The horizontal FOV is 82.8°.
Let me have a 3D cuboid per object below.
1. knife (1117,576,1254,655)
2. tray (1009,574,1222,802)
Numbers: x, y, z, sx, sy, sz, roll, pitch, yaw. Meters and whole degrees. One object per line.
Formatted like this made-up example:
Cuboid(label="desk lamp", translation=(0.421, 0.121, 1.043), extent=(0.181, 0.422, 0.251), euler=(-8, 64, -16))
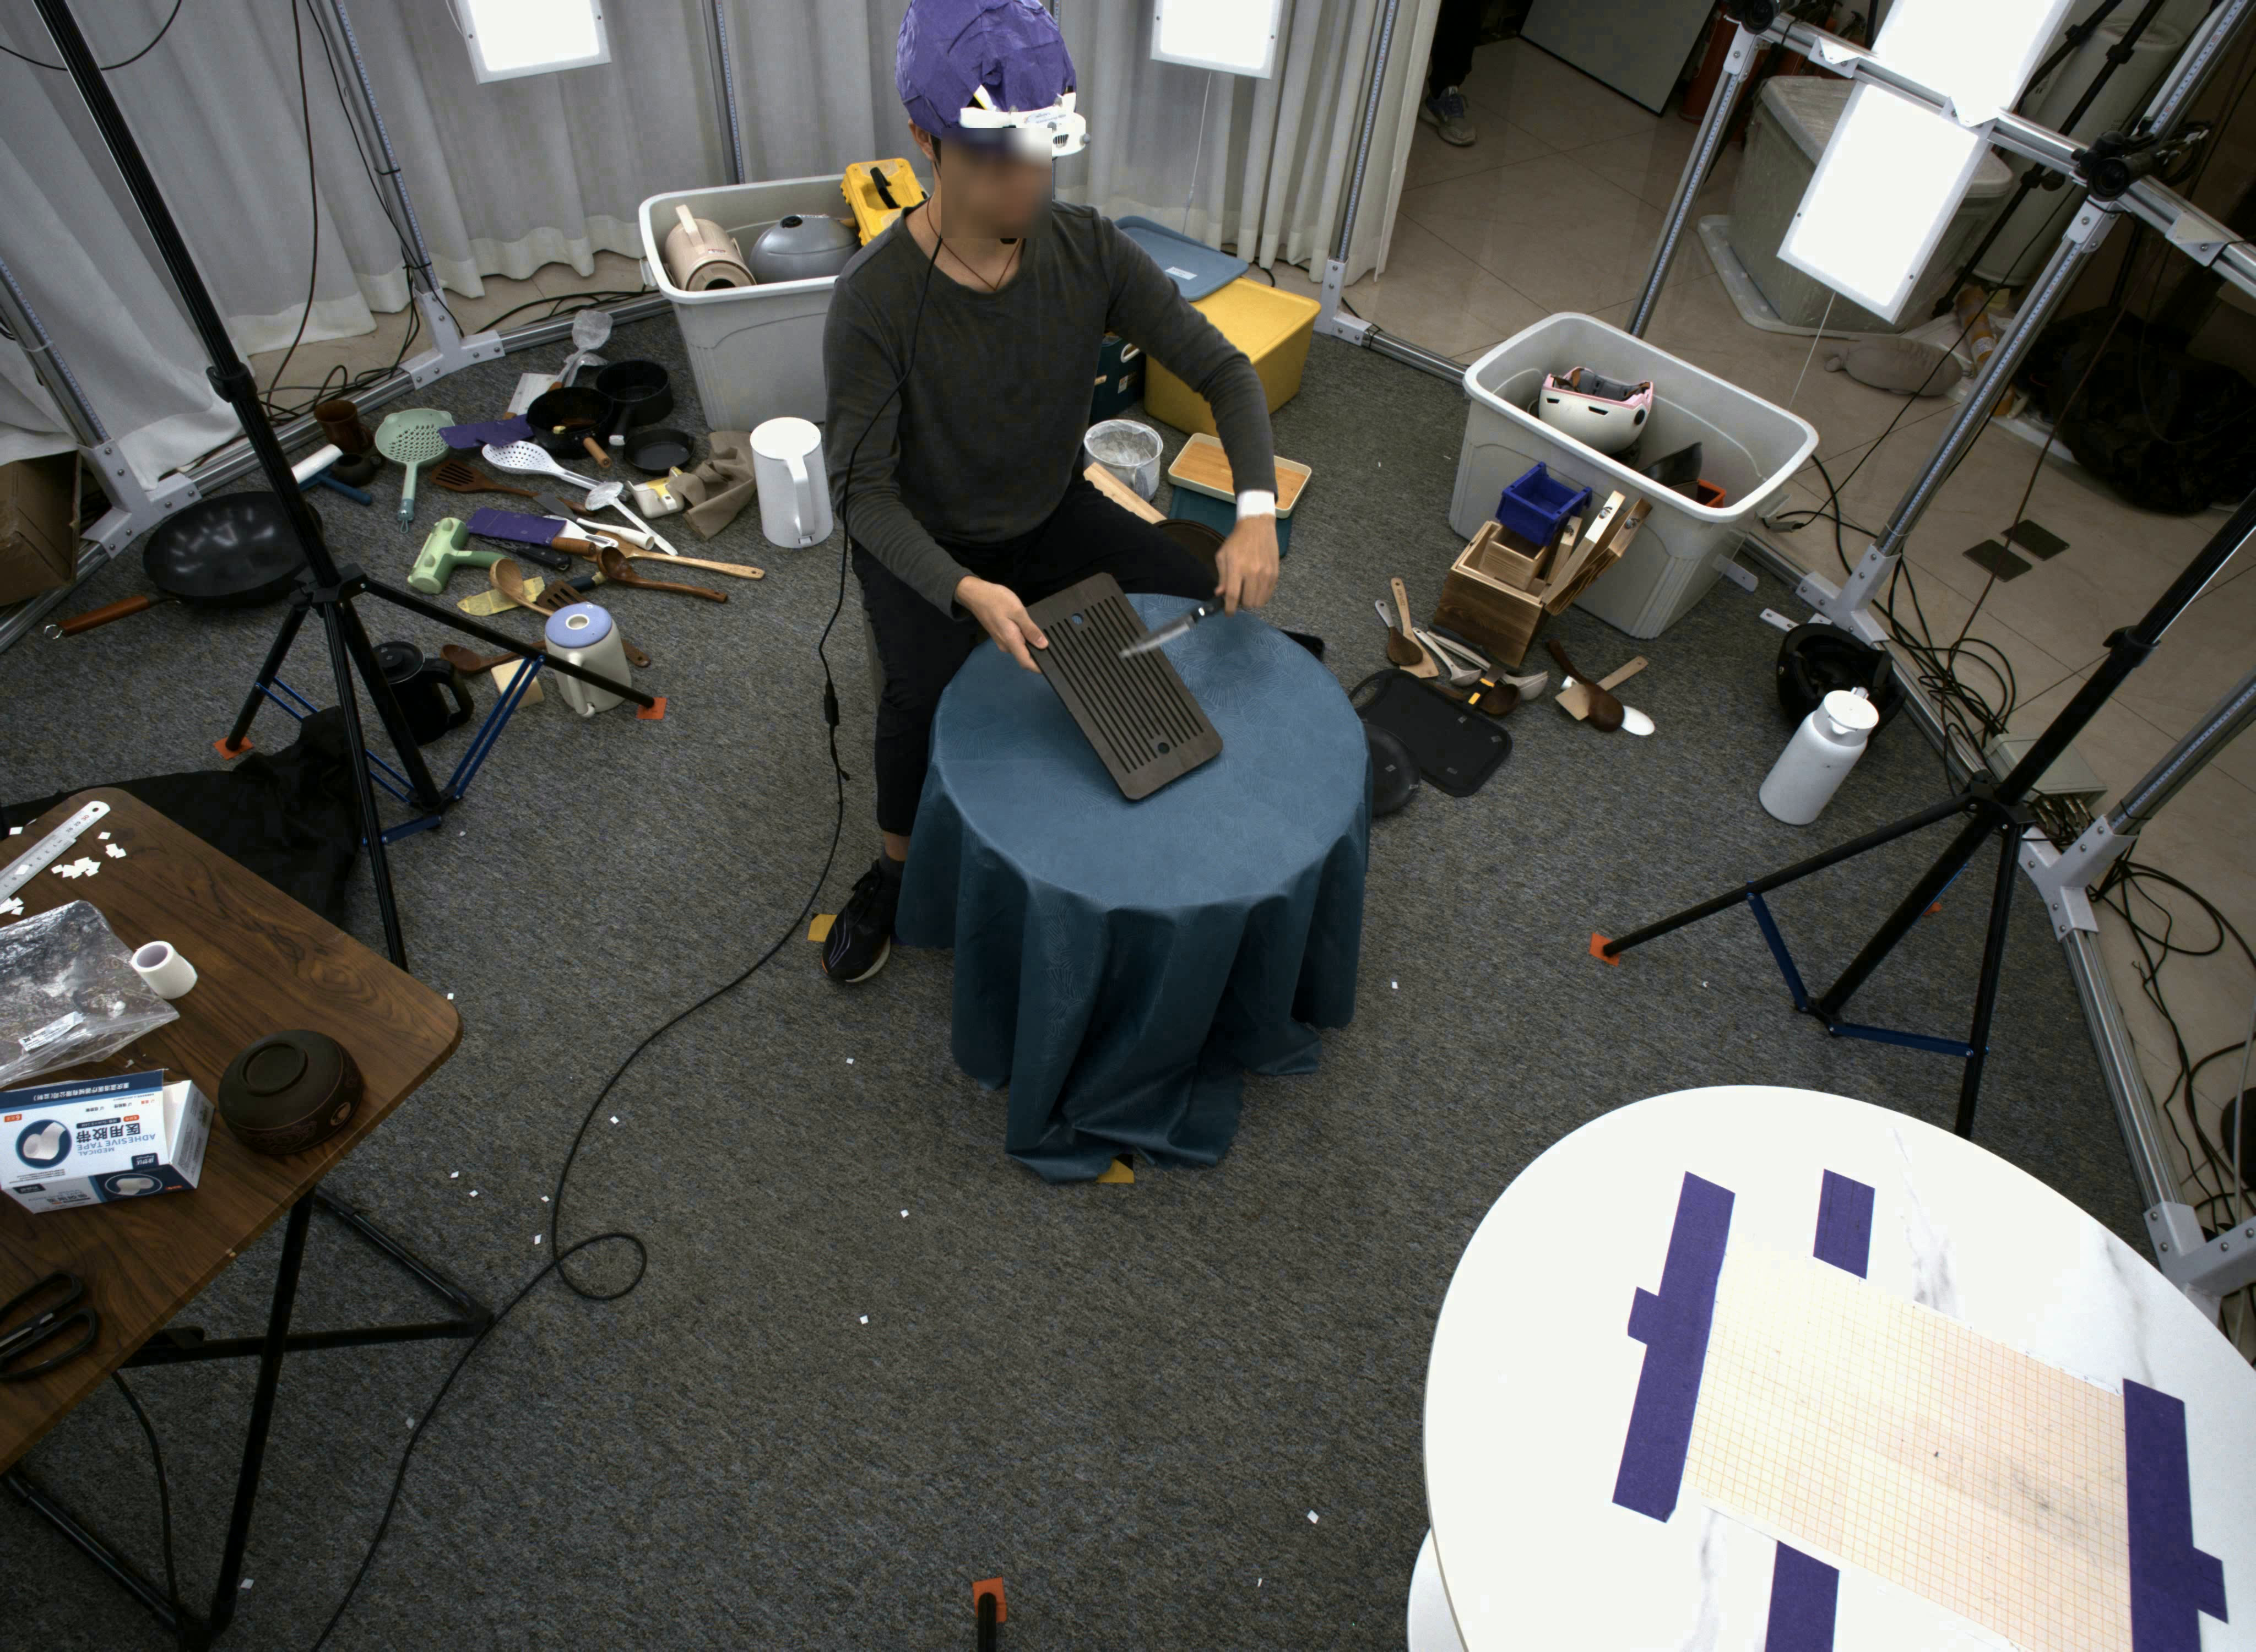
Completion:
Cuboid(label="knife", translation=(0.080, -0.296, 1.799), extent=(0.239, 0.016, 0.024), euler=(-31, 99, -20))
Cuboid(label="tray", translation=(-0.017, -0.190, 1.746), extent=(0.171, 0.018, 0.308), euler=(-29, 80, -24))
